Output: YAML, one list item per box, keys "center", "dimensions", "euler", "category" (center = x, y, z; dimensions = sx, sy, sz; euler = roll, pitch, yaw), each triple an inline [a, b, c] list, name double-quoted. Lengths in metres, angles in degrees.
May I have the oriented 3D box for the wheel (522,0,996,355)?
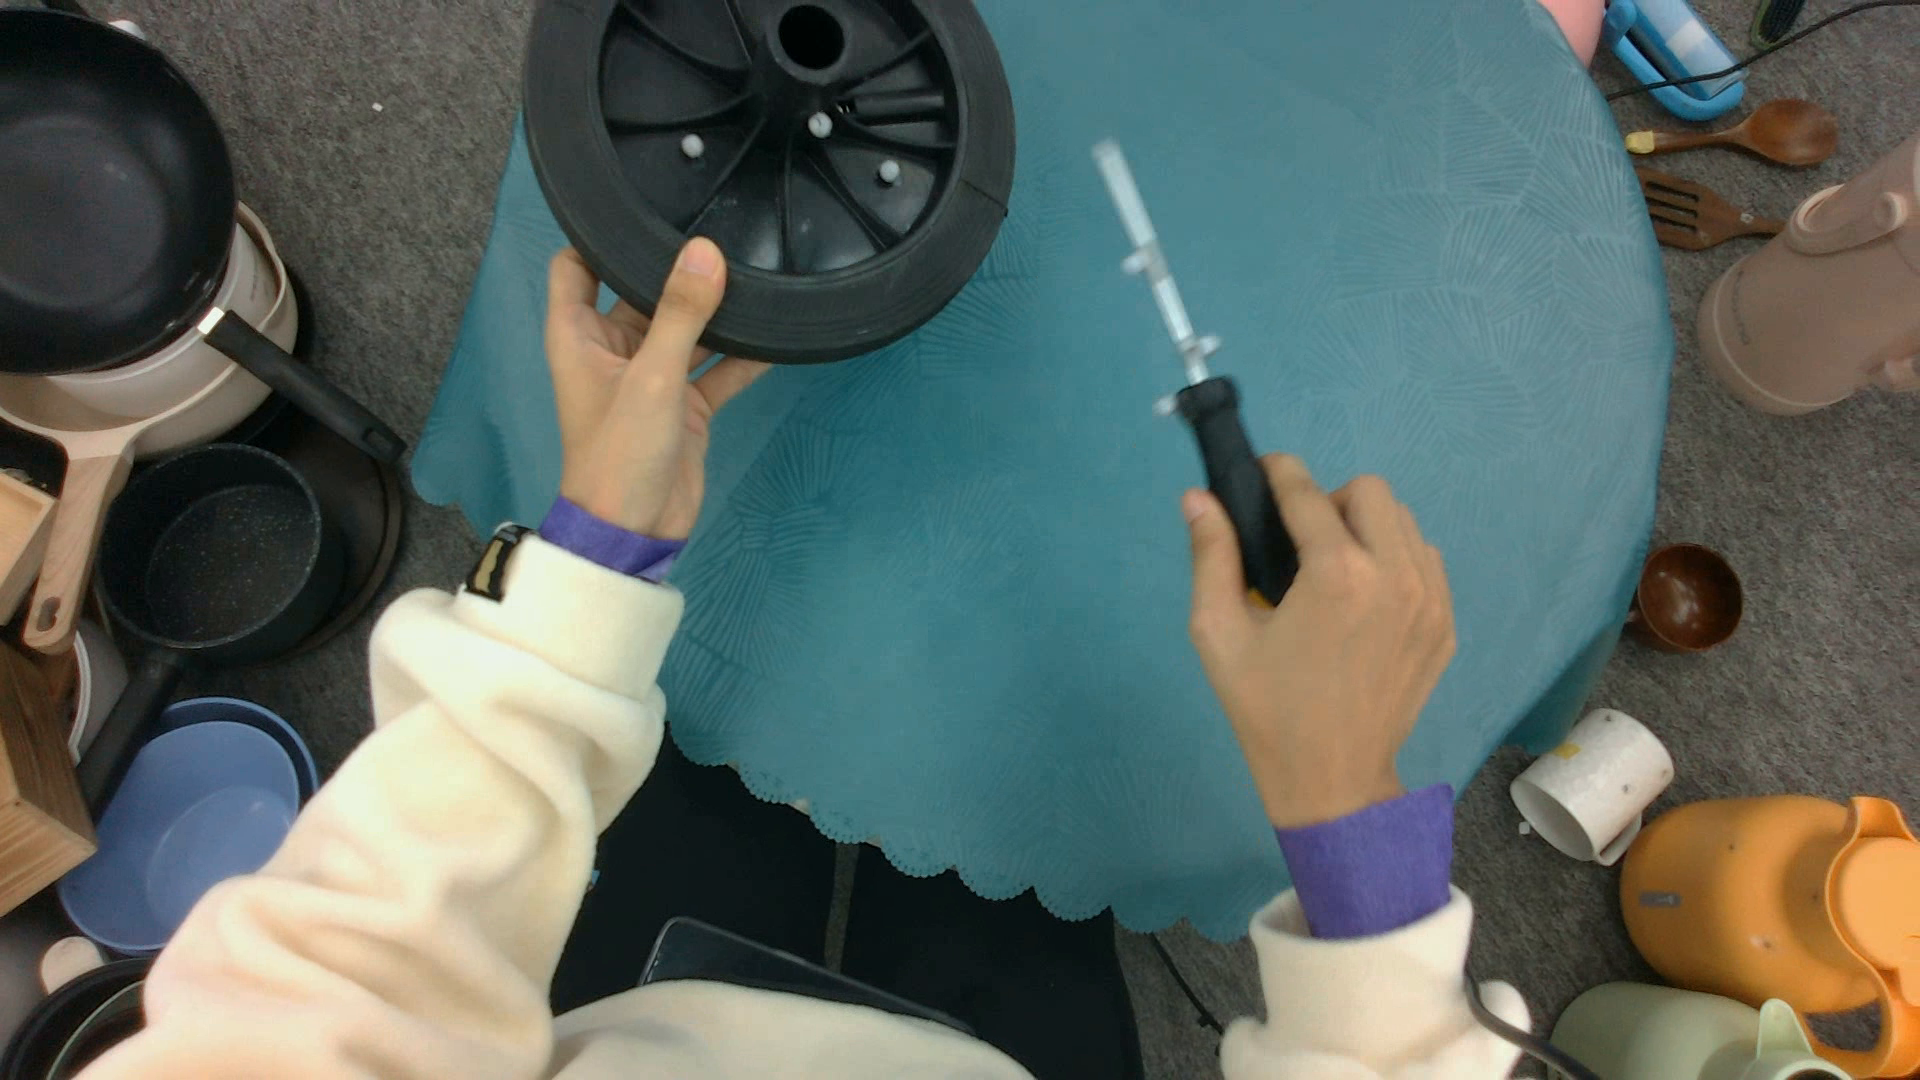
- center: [-0.067, -0.170, 0.525]
  dimensions: [0.190, 0.079, 0.187]
  euler: [-36, 92, -23]
  category: "wheel"

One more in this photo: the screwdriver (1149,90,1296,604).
- center: [0.091, -0.072, 0.511]
  dimensions: [0.031, 0.031, 0.196]
  euler: [-15, 90, -8]
  category: "screwdriver"
